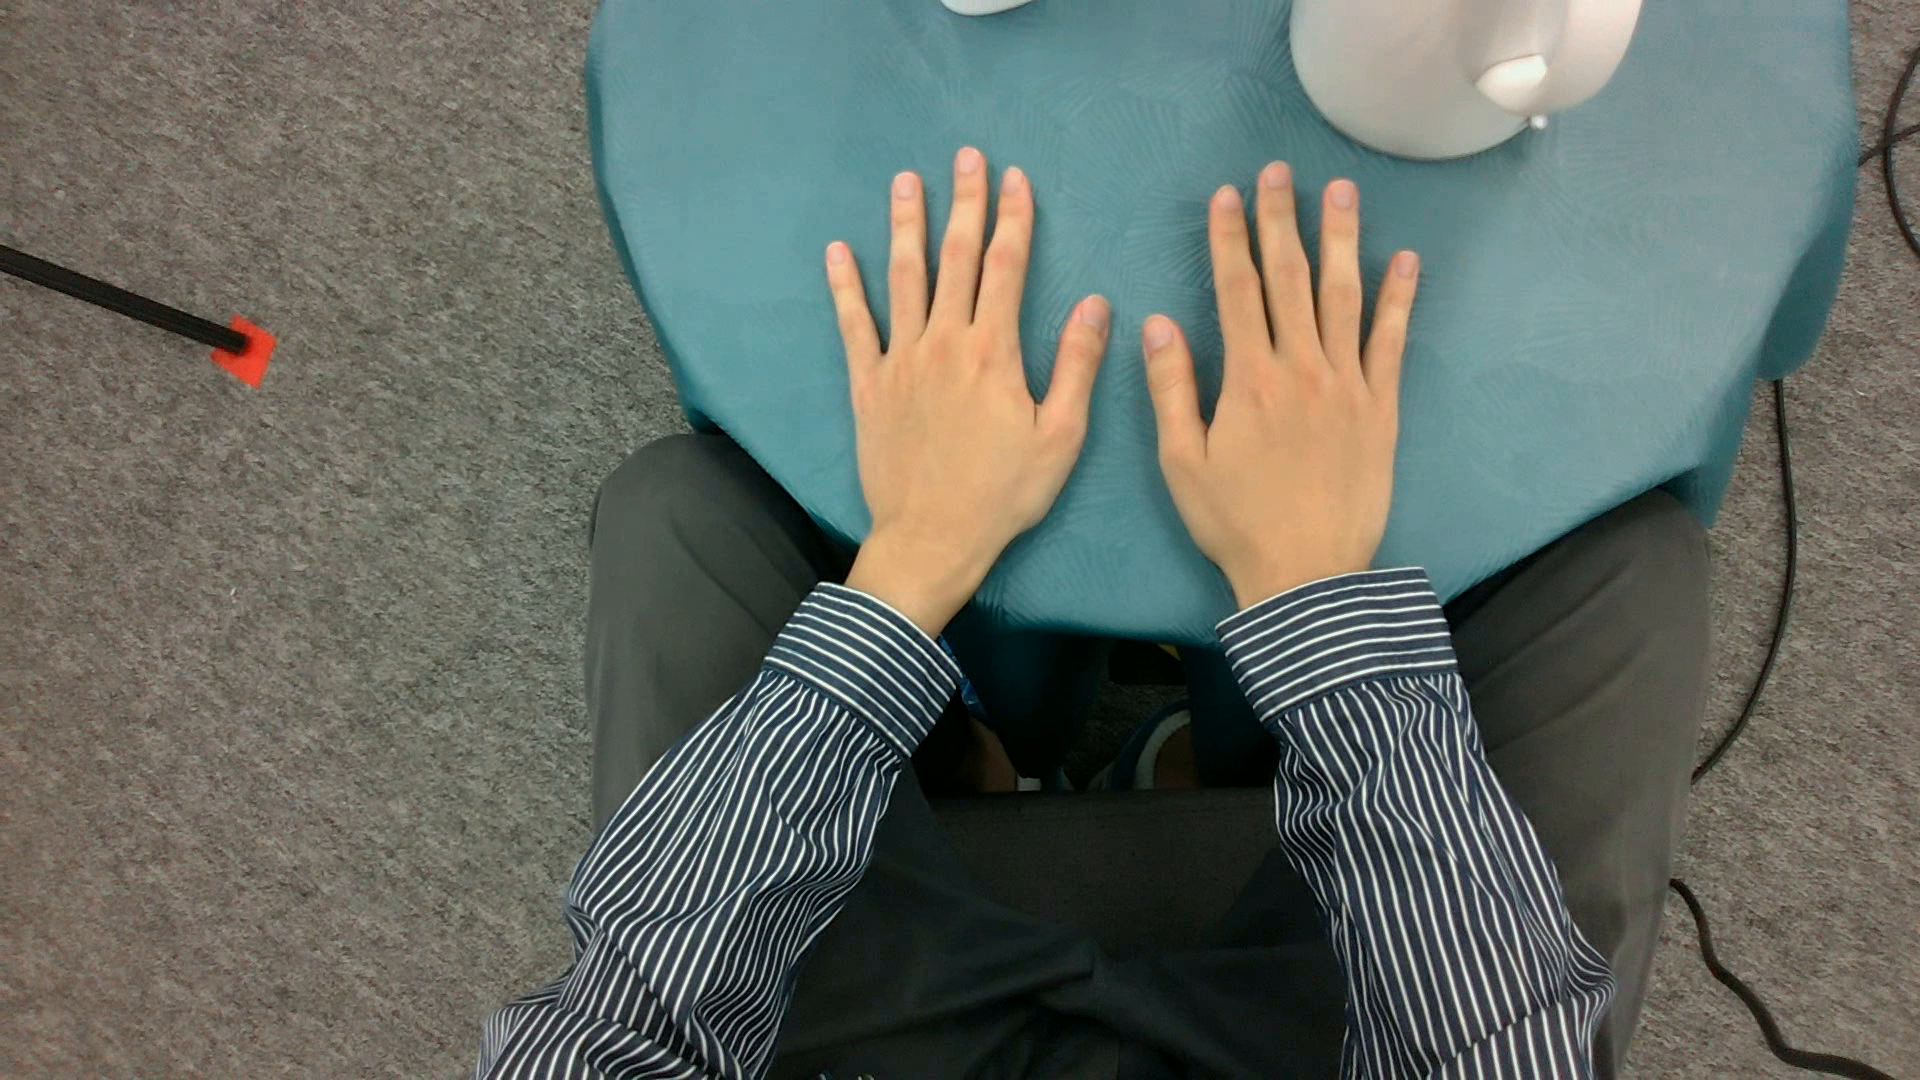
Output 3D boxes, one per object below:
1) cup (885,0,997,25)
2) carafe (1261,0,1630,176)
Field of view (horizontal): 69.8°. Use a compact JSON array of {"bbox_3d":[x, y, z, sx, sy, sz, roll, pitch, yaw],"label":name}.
[{"bbox_3d":[-0.017,-0.302,0.640,0.081,0.125,0.082,-1,82,7],"label":"cup"},{"bbox_3d":[0.203,-0.241,0.538,0.132,0.248,0.168,-18,78,3],"label":"carafe"}]
